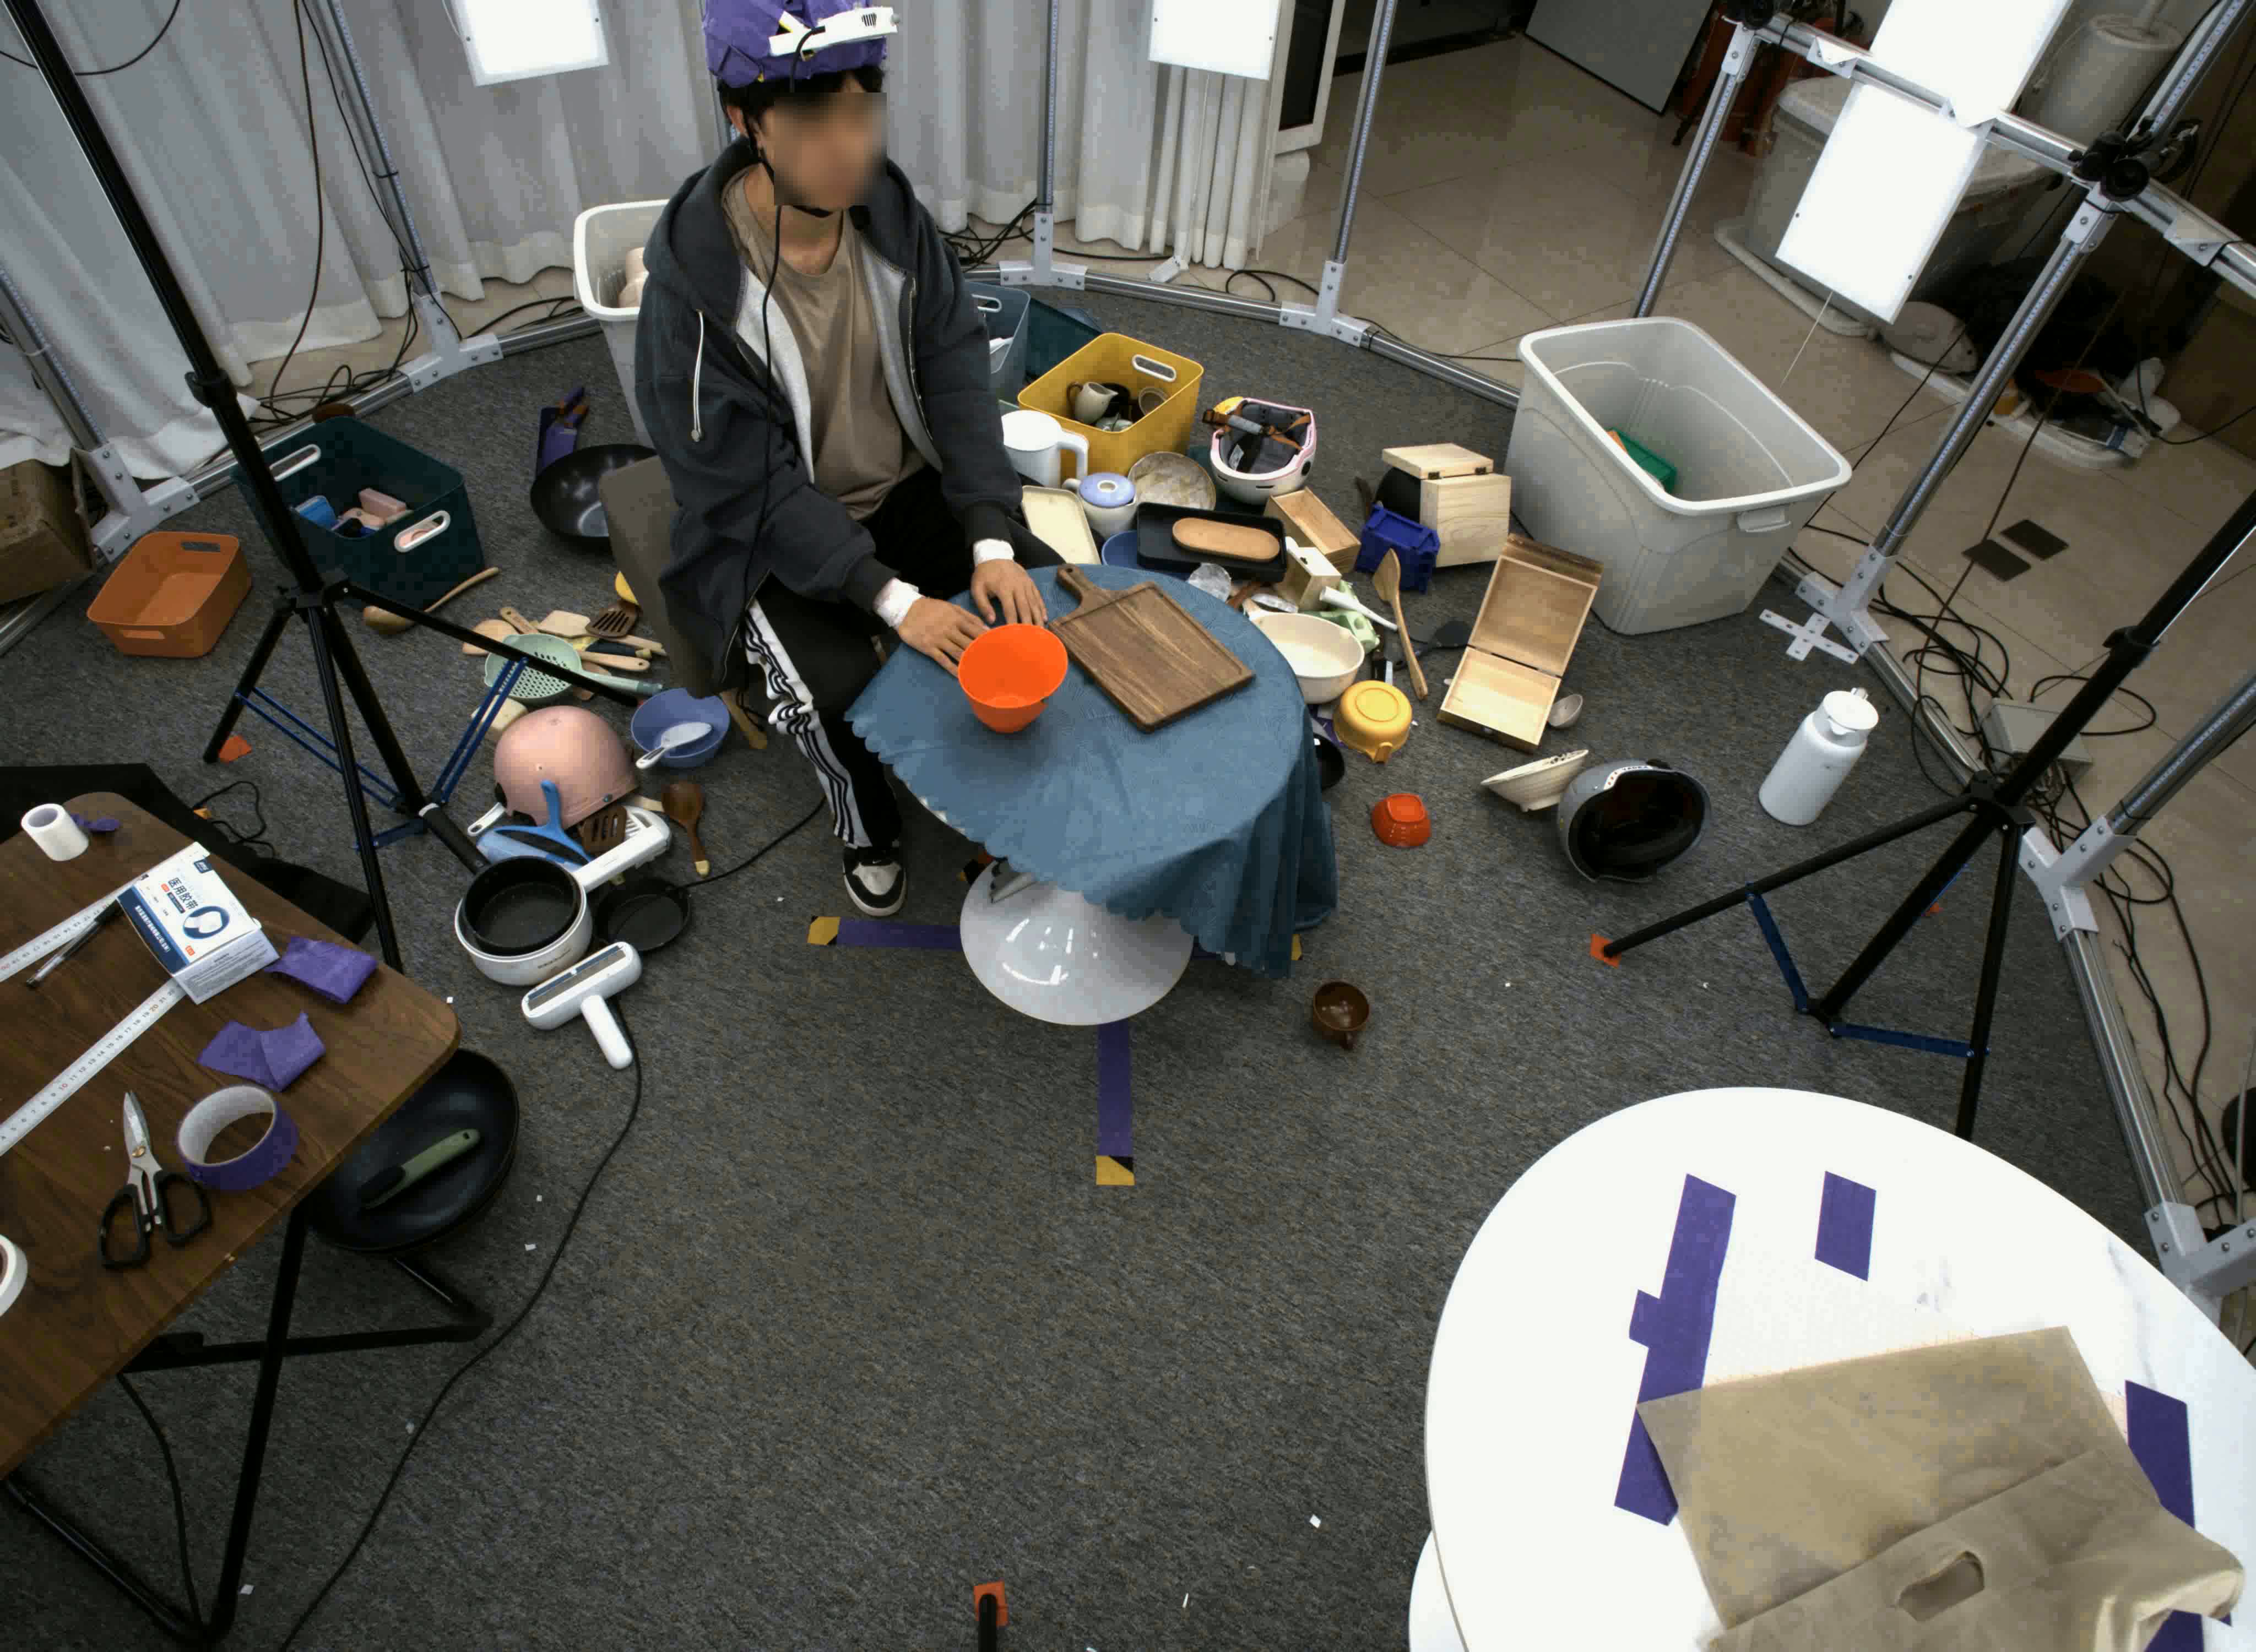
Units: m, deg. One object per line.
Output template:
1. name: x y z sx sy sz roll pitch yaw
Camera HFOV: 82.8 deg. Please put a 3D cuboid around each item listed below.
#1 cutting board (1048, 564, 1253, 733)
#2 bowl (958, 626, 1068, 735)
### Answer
1. cutting board: 0.002 -0.285 1.902 0.202 0.022 0.359 -27 55 -25
2. bowl: -0.155 -0.189 1.755 0.148 0.102 0.152 2 49 -2
